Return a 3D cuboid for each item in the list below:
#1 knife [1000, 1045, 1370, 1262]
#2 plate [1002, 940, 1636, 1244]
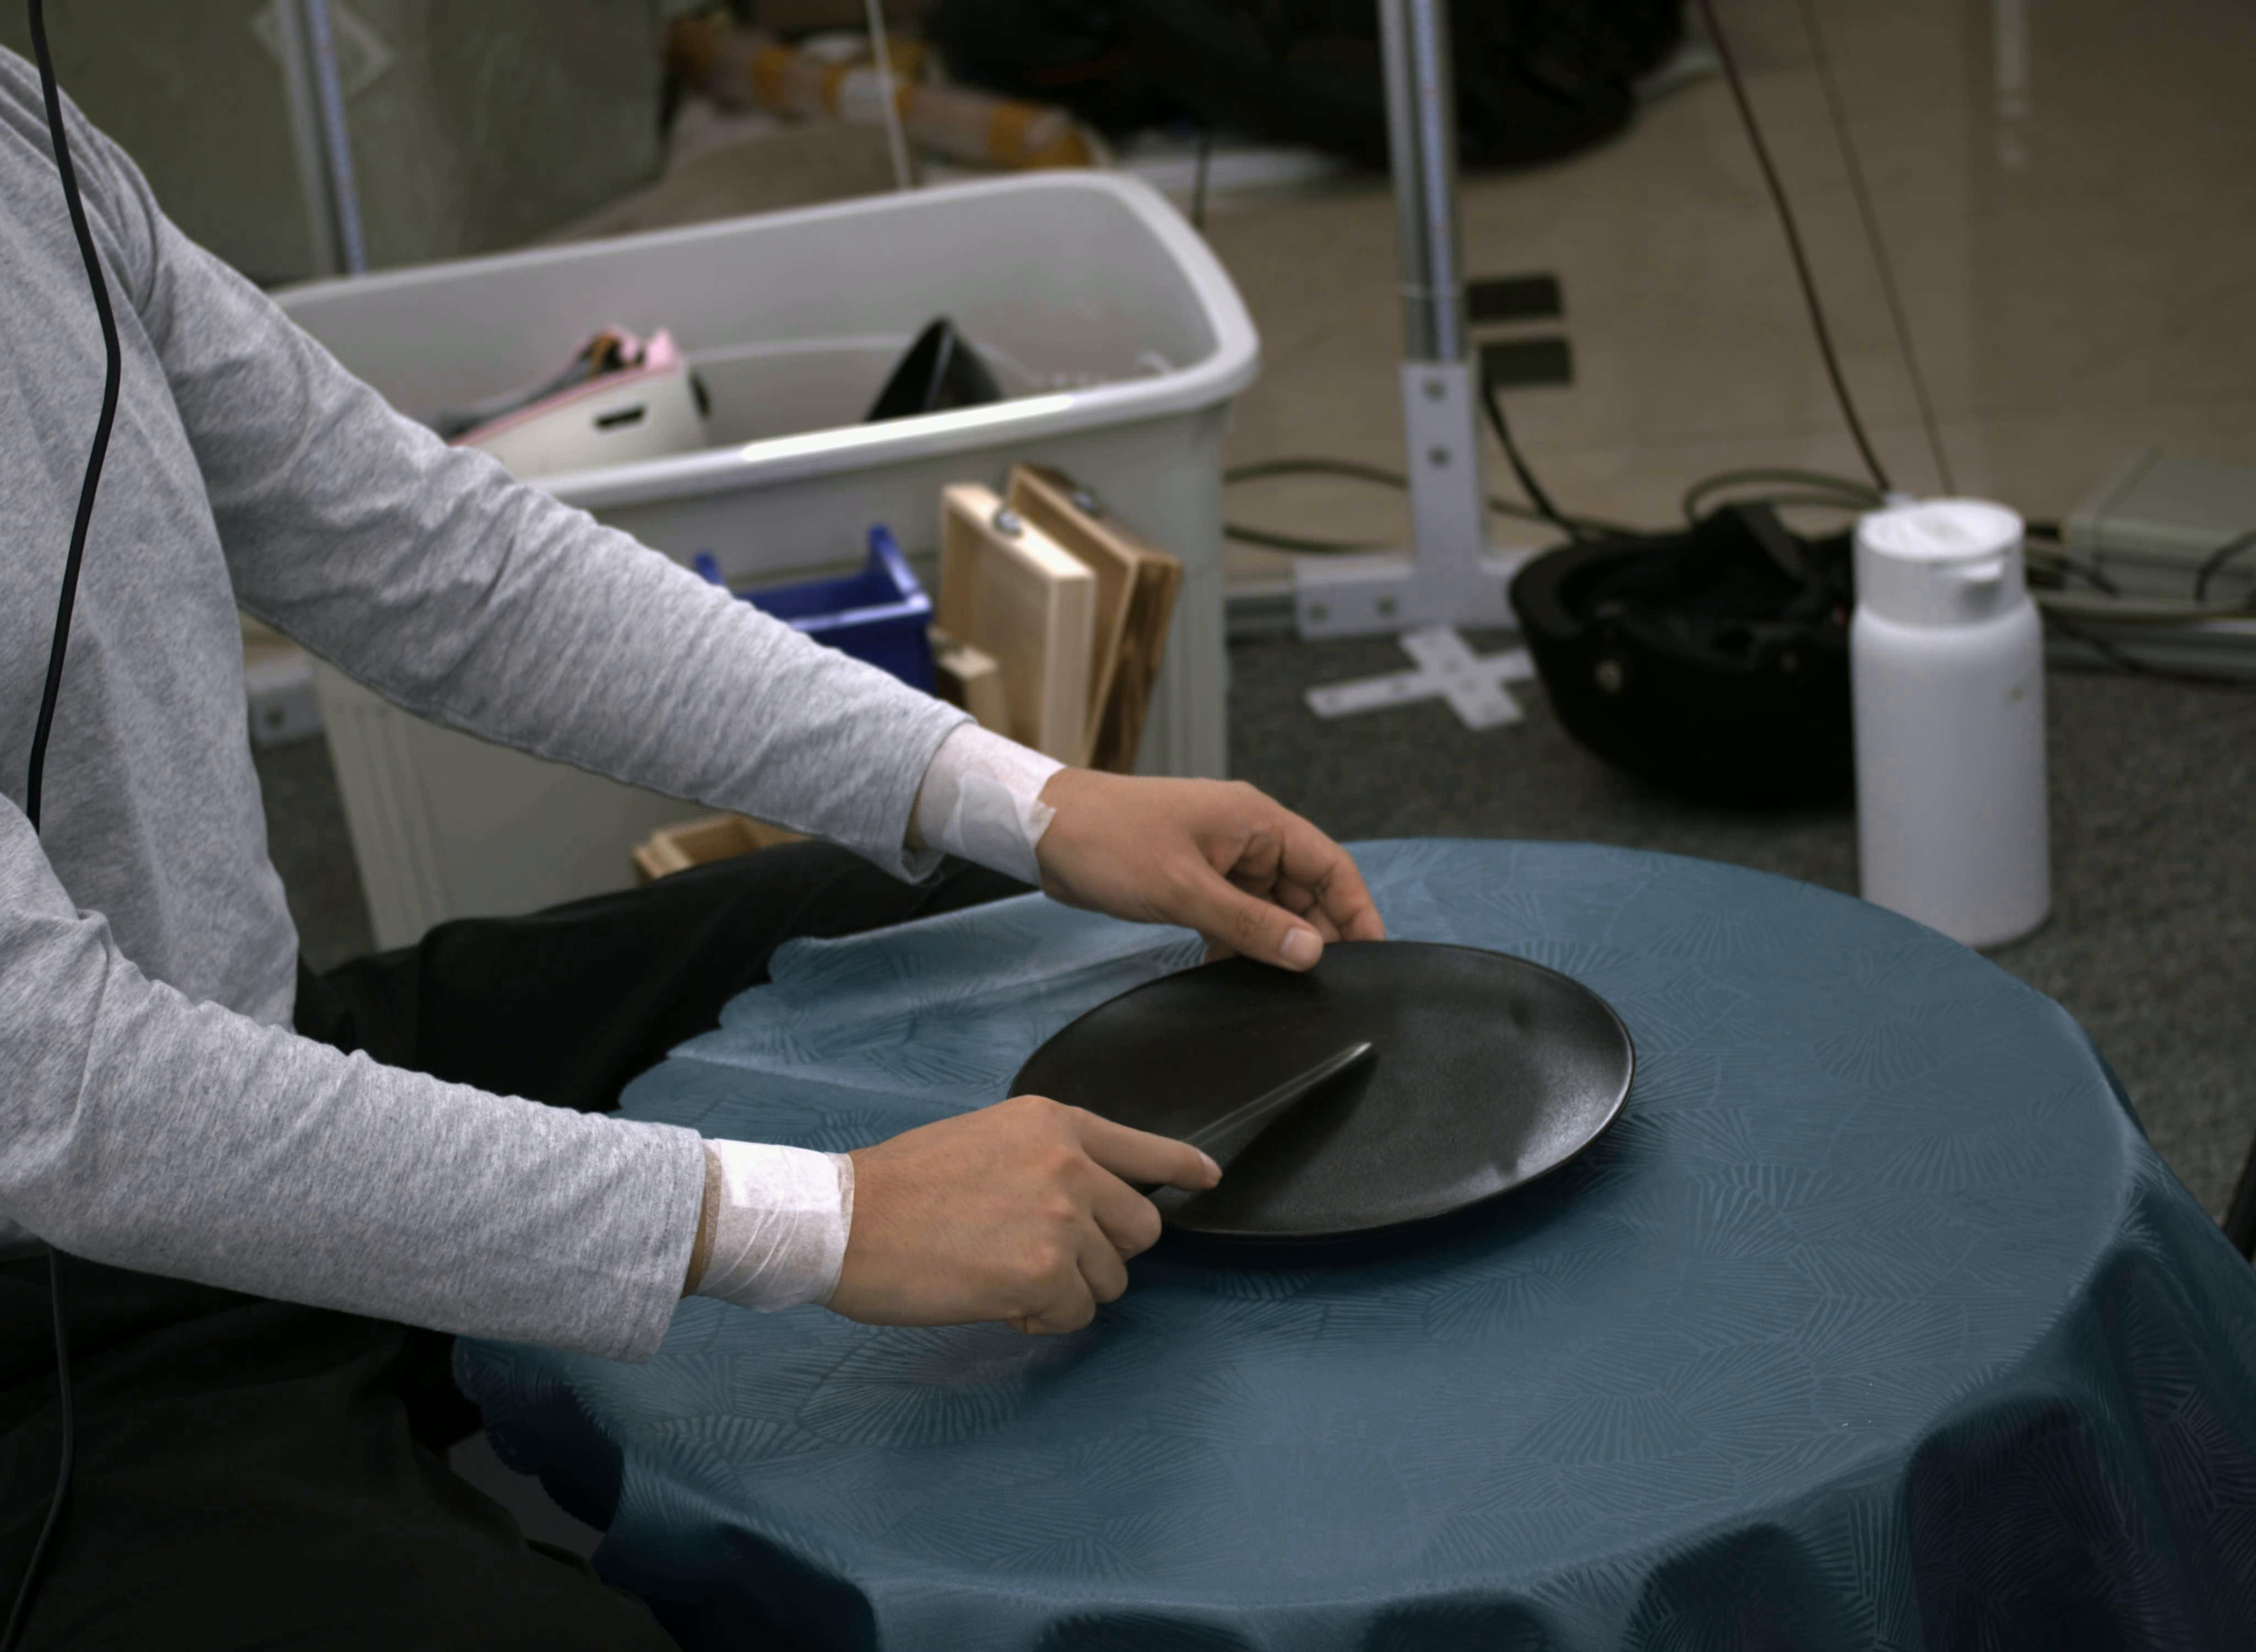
[{"bbox_3d":[0.028,0.118,2.129,0.024,0.016,0.236,-10,10,39],"label":"knife"},{"bbox_3d":[0.074,0.107,2.175,0.244,0.024,0.241,-5,25,2],"label":"plate"}]
